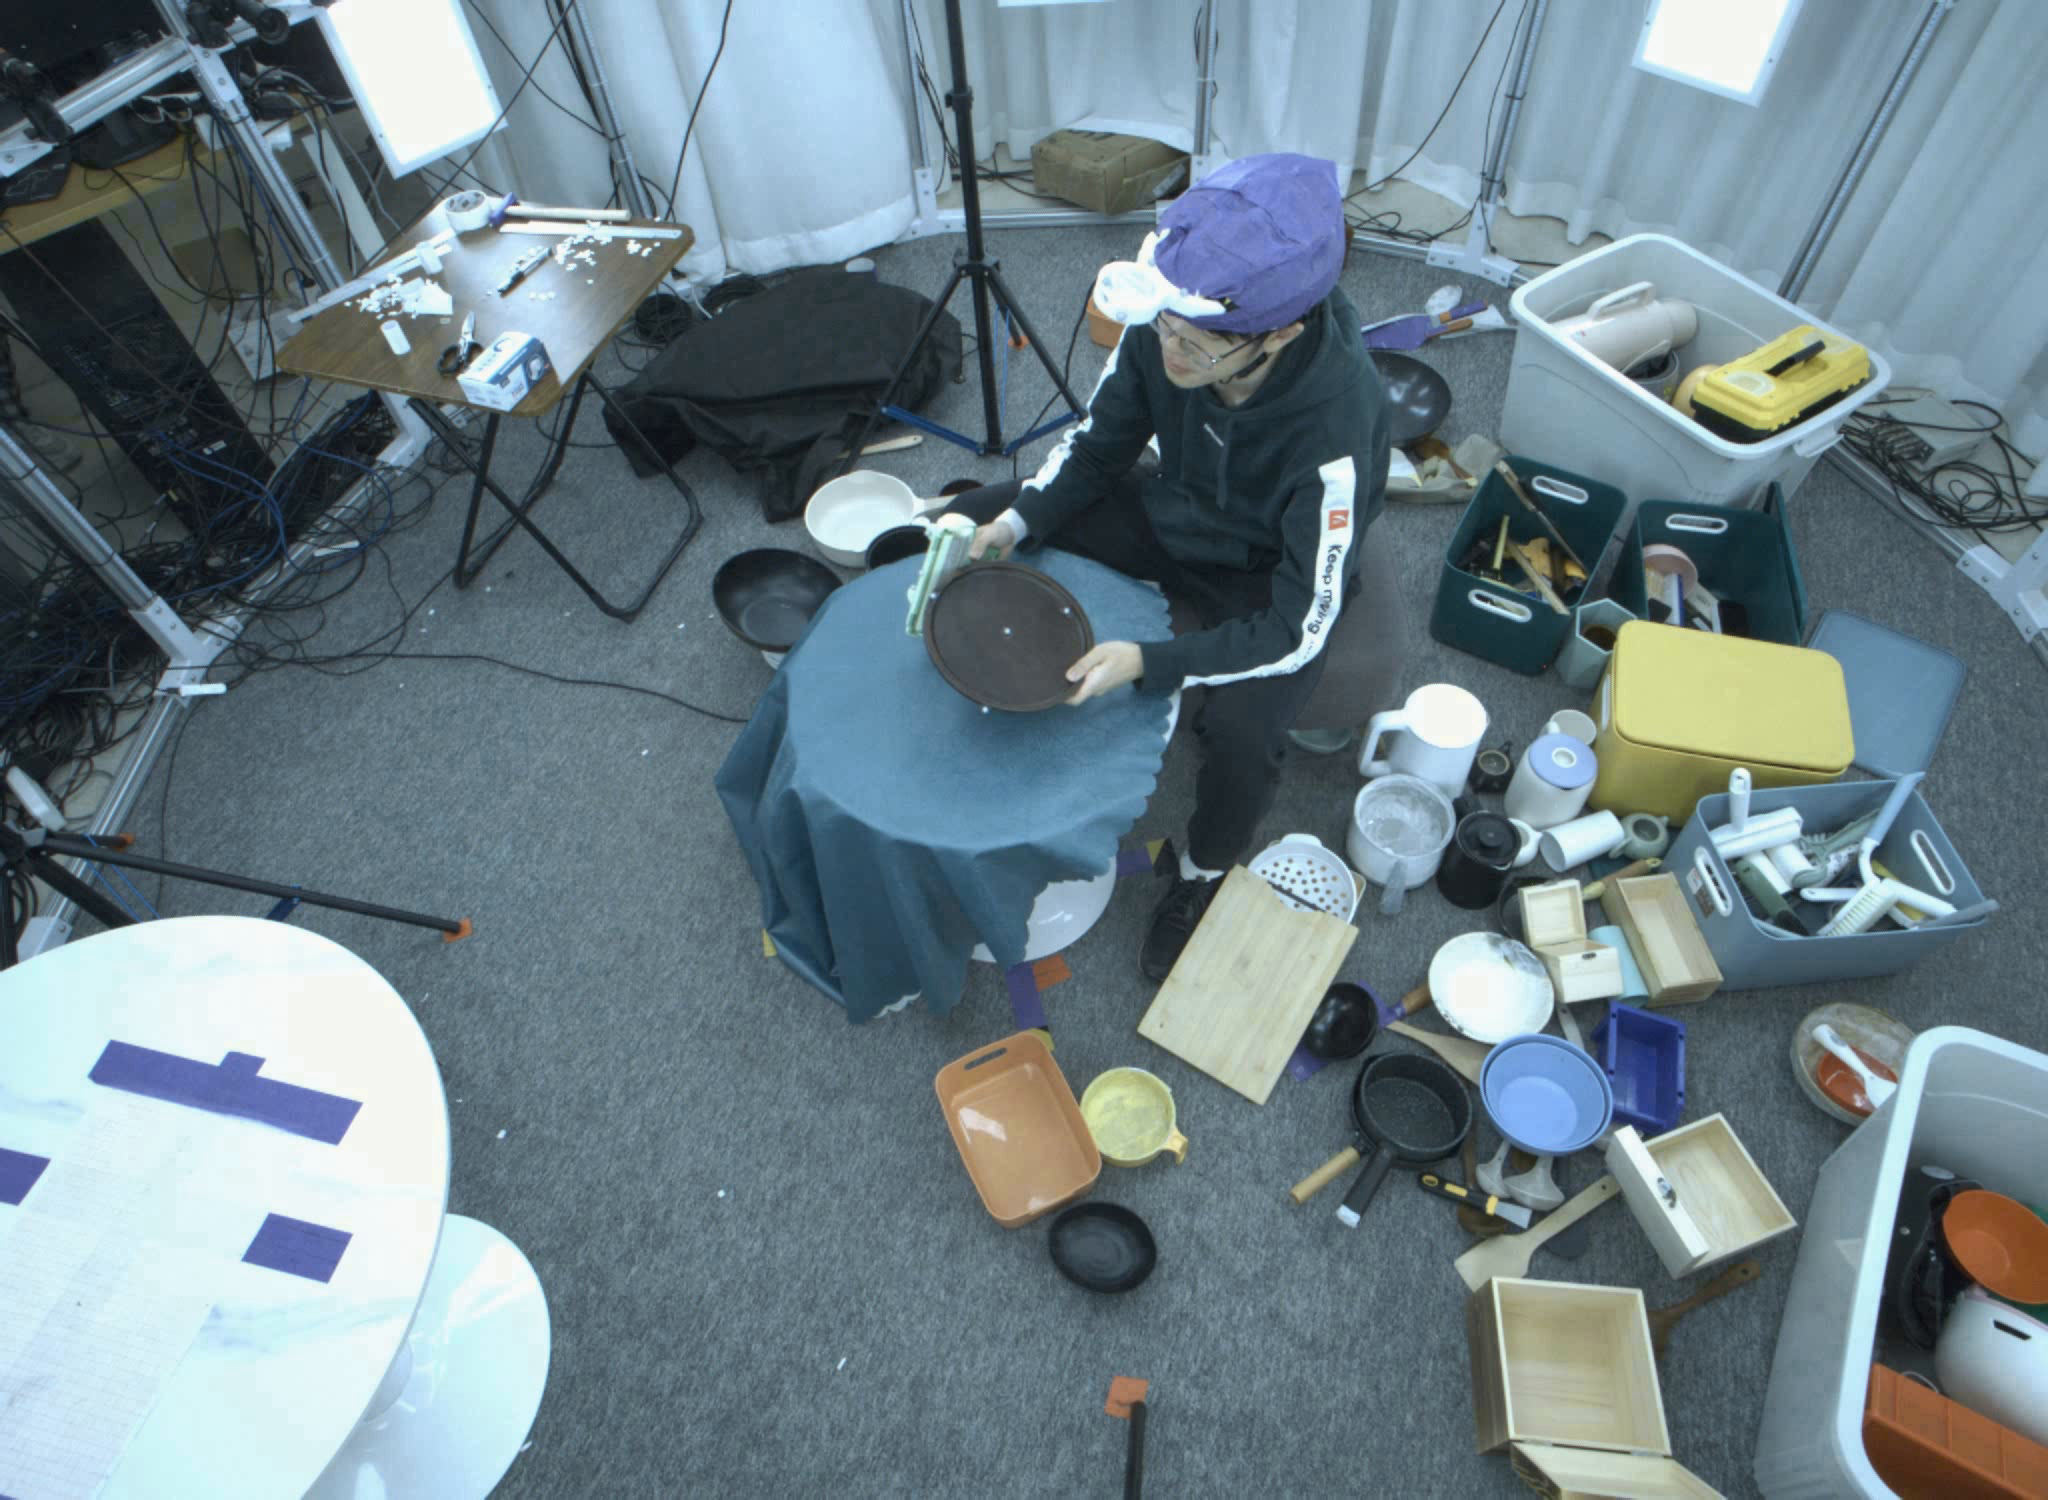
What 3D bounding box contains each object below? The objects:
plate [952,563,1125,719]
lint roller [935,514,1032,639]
[{"bbox_3d":[0.021,-0.155,1.739,0.257,0.029,0.252,8,62,-13],"label":"plate"},{"bbox_3d":[-0.060,-0.279,1.834,0.081,0.198,0.184,31,38,10],"label":"lint roller"}]
